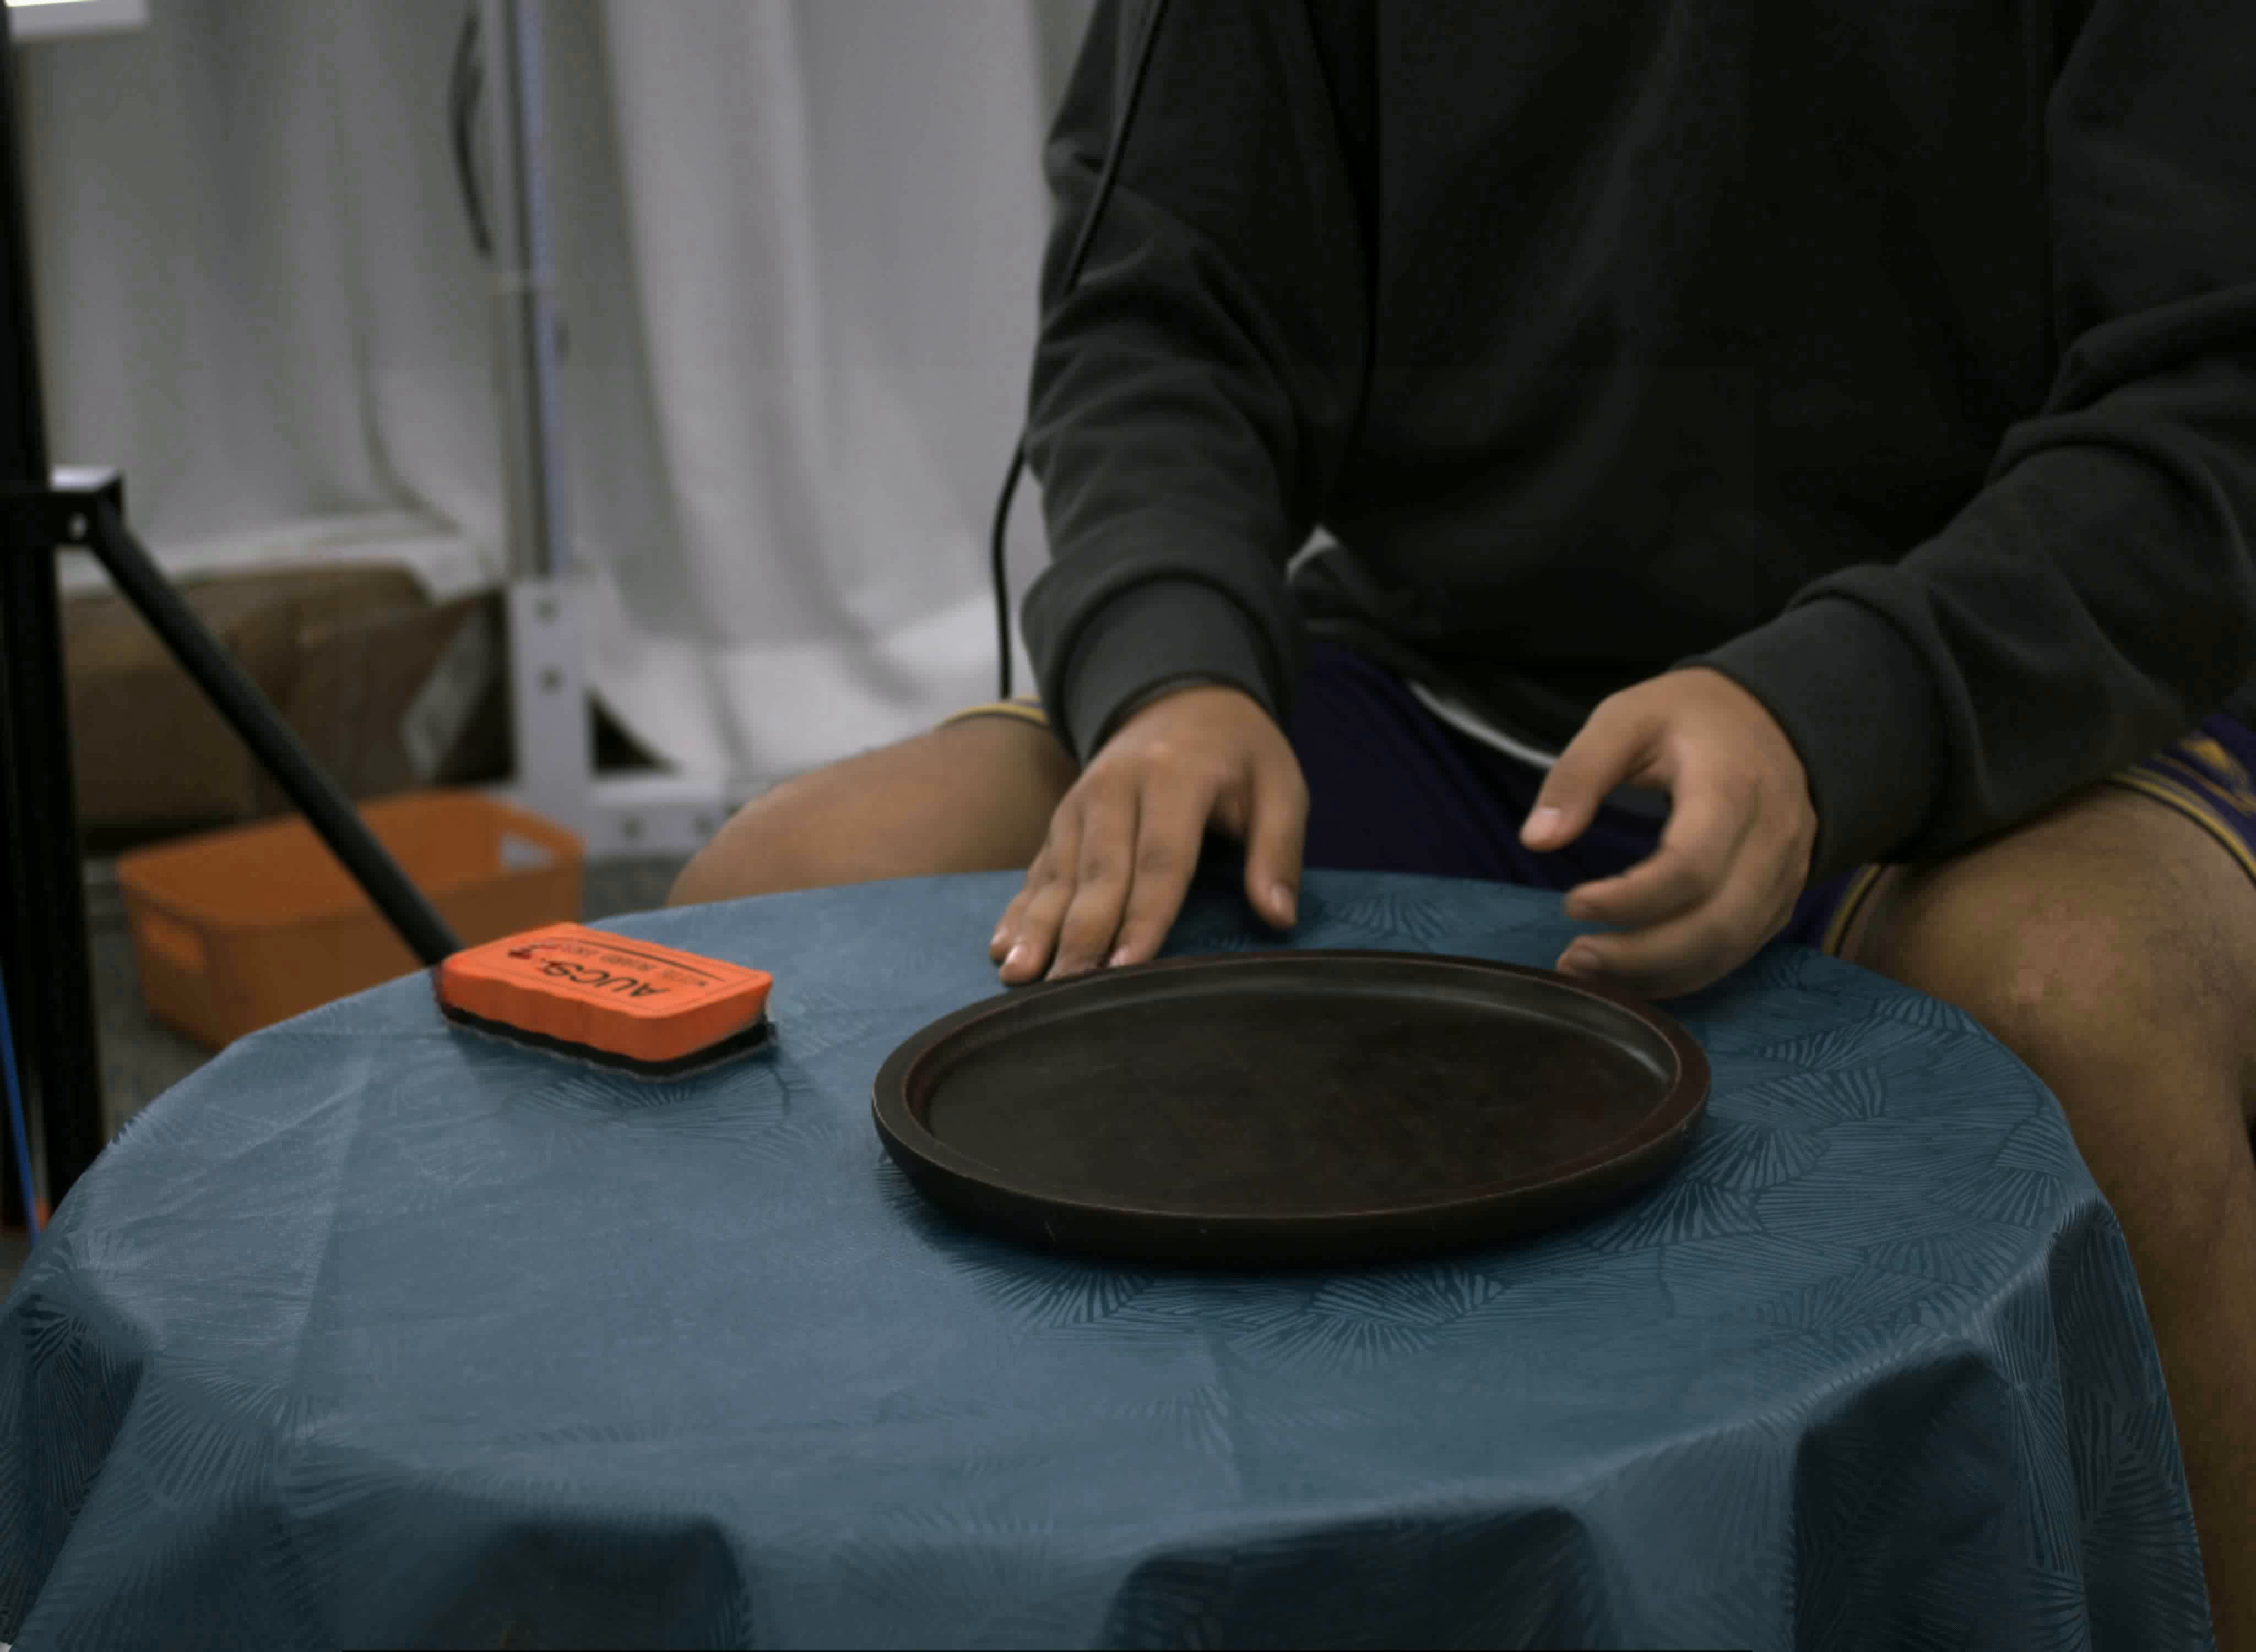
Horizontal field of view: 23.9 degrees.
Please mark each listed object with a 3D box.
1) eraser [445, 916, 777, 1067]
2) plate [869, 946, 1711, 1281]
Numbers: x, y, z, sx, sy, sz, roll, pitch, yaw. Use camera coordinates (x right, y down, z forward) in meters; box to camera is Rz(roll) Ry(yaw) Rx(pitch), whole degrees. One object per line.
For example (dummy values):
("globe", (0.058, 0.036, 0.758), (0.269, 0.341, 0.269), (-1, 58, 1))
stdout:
("eraser", (-0.168, 0.053, 1.727), (0.110, 0.023, 0.057), (10, 20, 42))
("plate", (0.049, 0.084, 1.596), (0.253, 0.029, 0.256), (-4, 15, 0))
